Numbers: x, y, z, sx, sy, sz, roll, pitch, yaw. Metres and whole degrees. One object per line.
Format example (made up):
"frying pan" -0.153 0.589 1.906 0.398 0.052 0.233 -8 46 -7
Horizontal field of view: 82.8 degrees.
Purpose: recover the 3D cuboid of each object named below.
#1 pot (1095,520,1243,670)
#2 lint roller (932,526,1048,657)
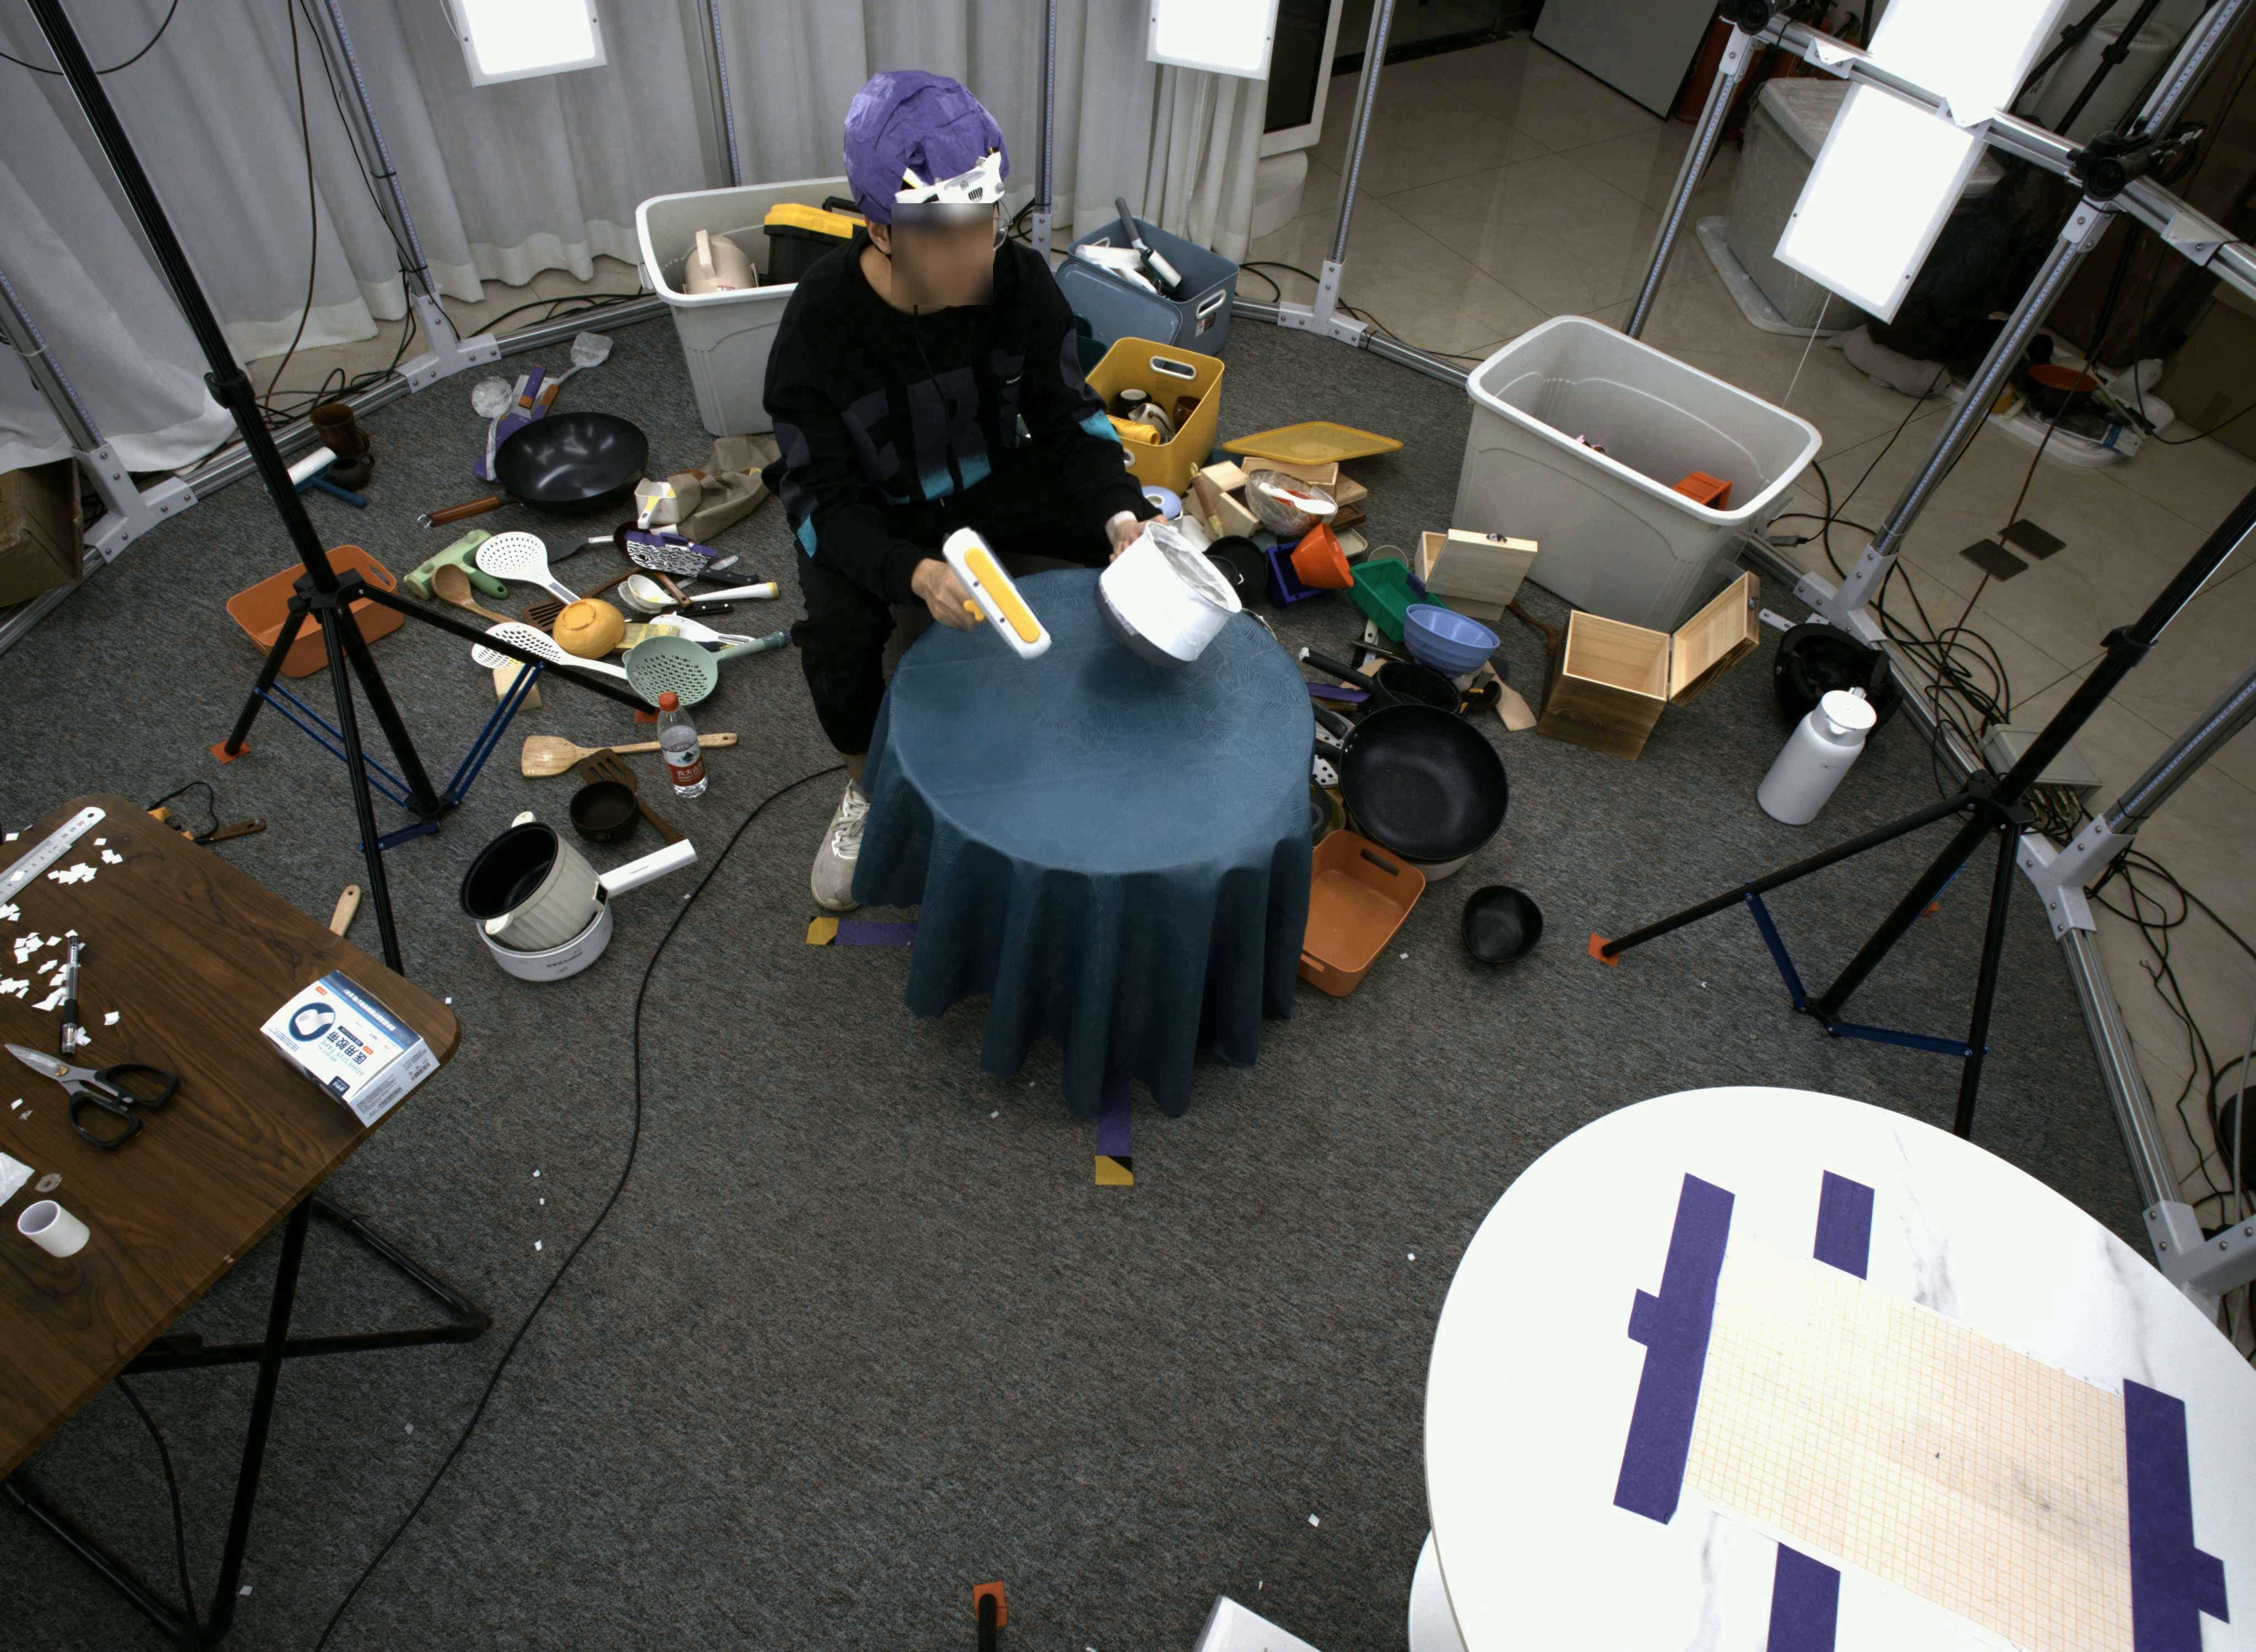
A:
"pot" 0.045 -0.336 1.812 0.176 0.135 0.239 28 29 -37
"lint roller" -0.199 -0.304 1.729 0.074 0.193 0.191 -46 105 -8
